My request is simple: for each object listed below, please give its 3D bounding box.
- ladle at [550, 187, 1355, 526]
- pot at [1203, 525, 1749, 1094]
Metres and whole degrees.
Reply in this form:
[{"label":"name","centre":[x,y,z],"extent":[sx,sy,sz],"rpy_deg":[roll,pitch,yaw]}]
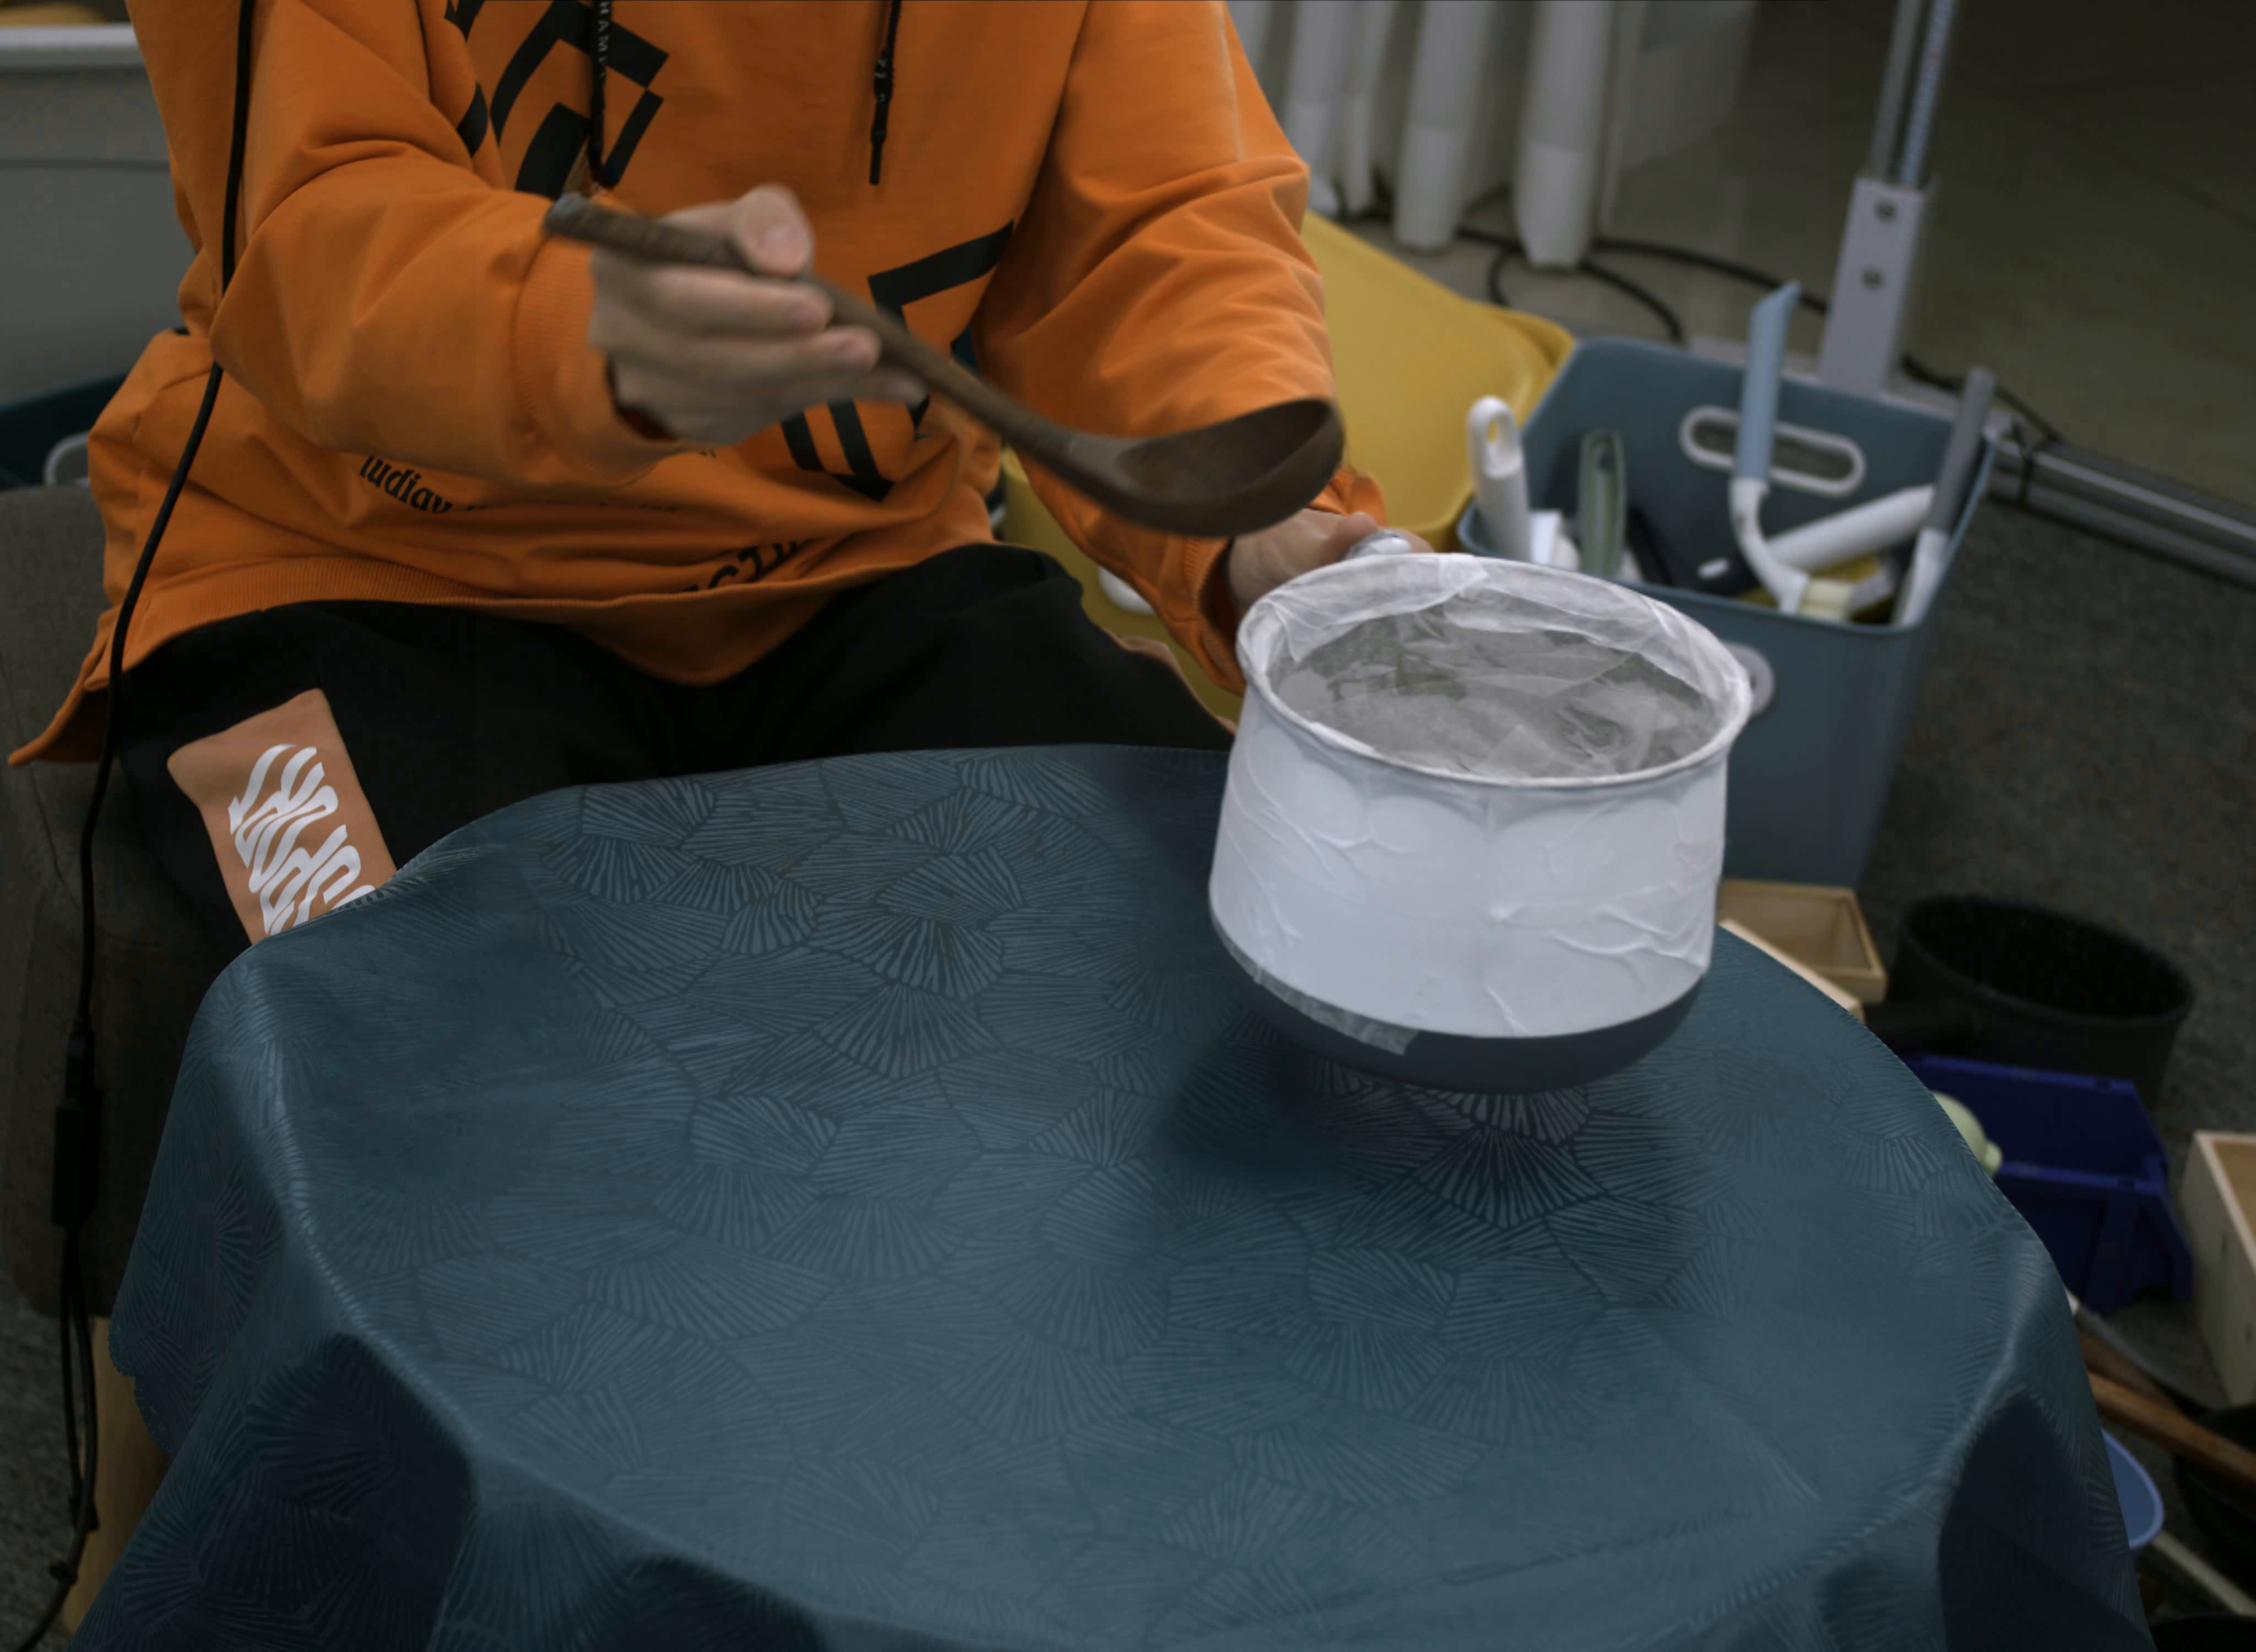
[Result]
[{"label":"ladle","centre":[-0.056,-0.174,1.772],"extent":[0.273,0.071,0.076],"rpy_deg":[27,21,-4]},{"label":"pot","centre":[0.107,-0.013,1.862],"extent":[0.177,0.136,0.236],"rpy_deg":[-5,29,-21]}]
